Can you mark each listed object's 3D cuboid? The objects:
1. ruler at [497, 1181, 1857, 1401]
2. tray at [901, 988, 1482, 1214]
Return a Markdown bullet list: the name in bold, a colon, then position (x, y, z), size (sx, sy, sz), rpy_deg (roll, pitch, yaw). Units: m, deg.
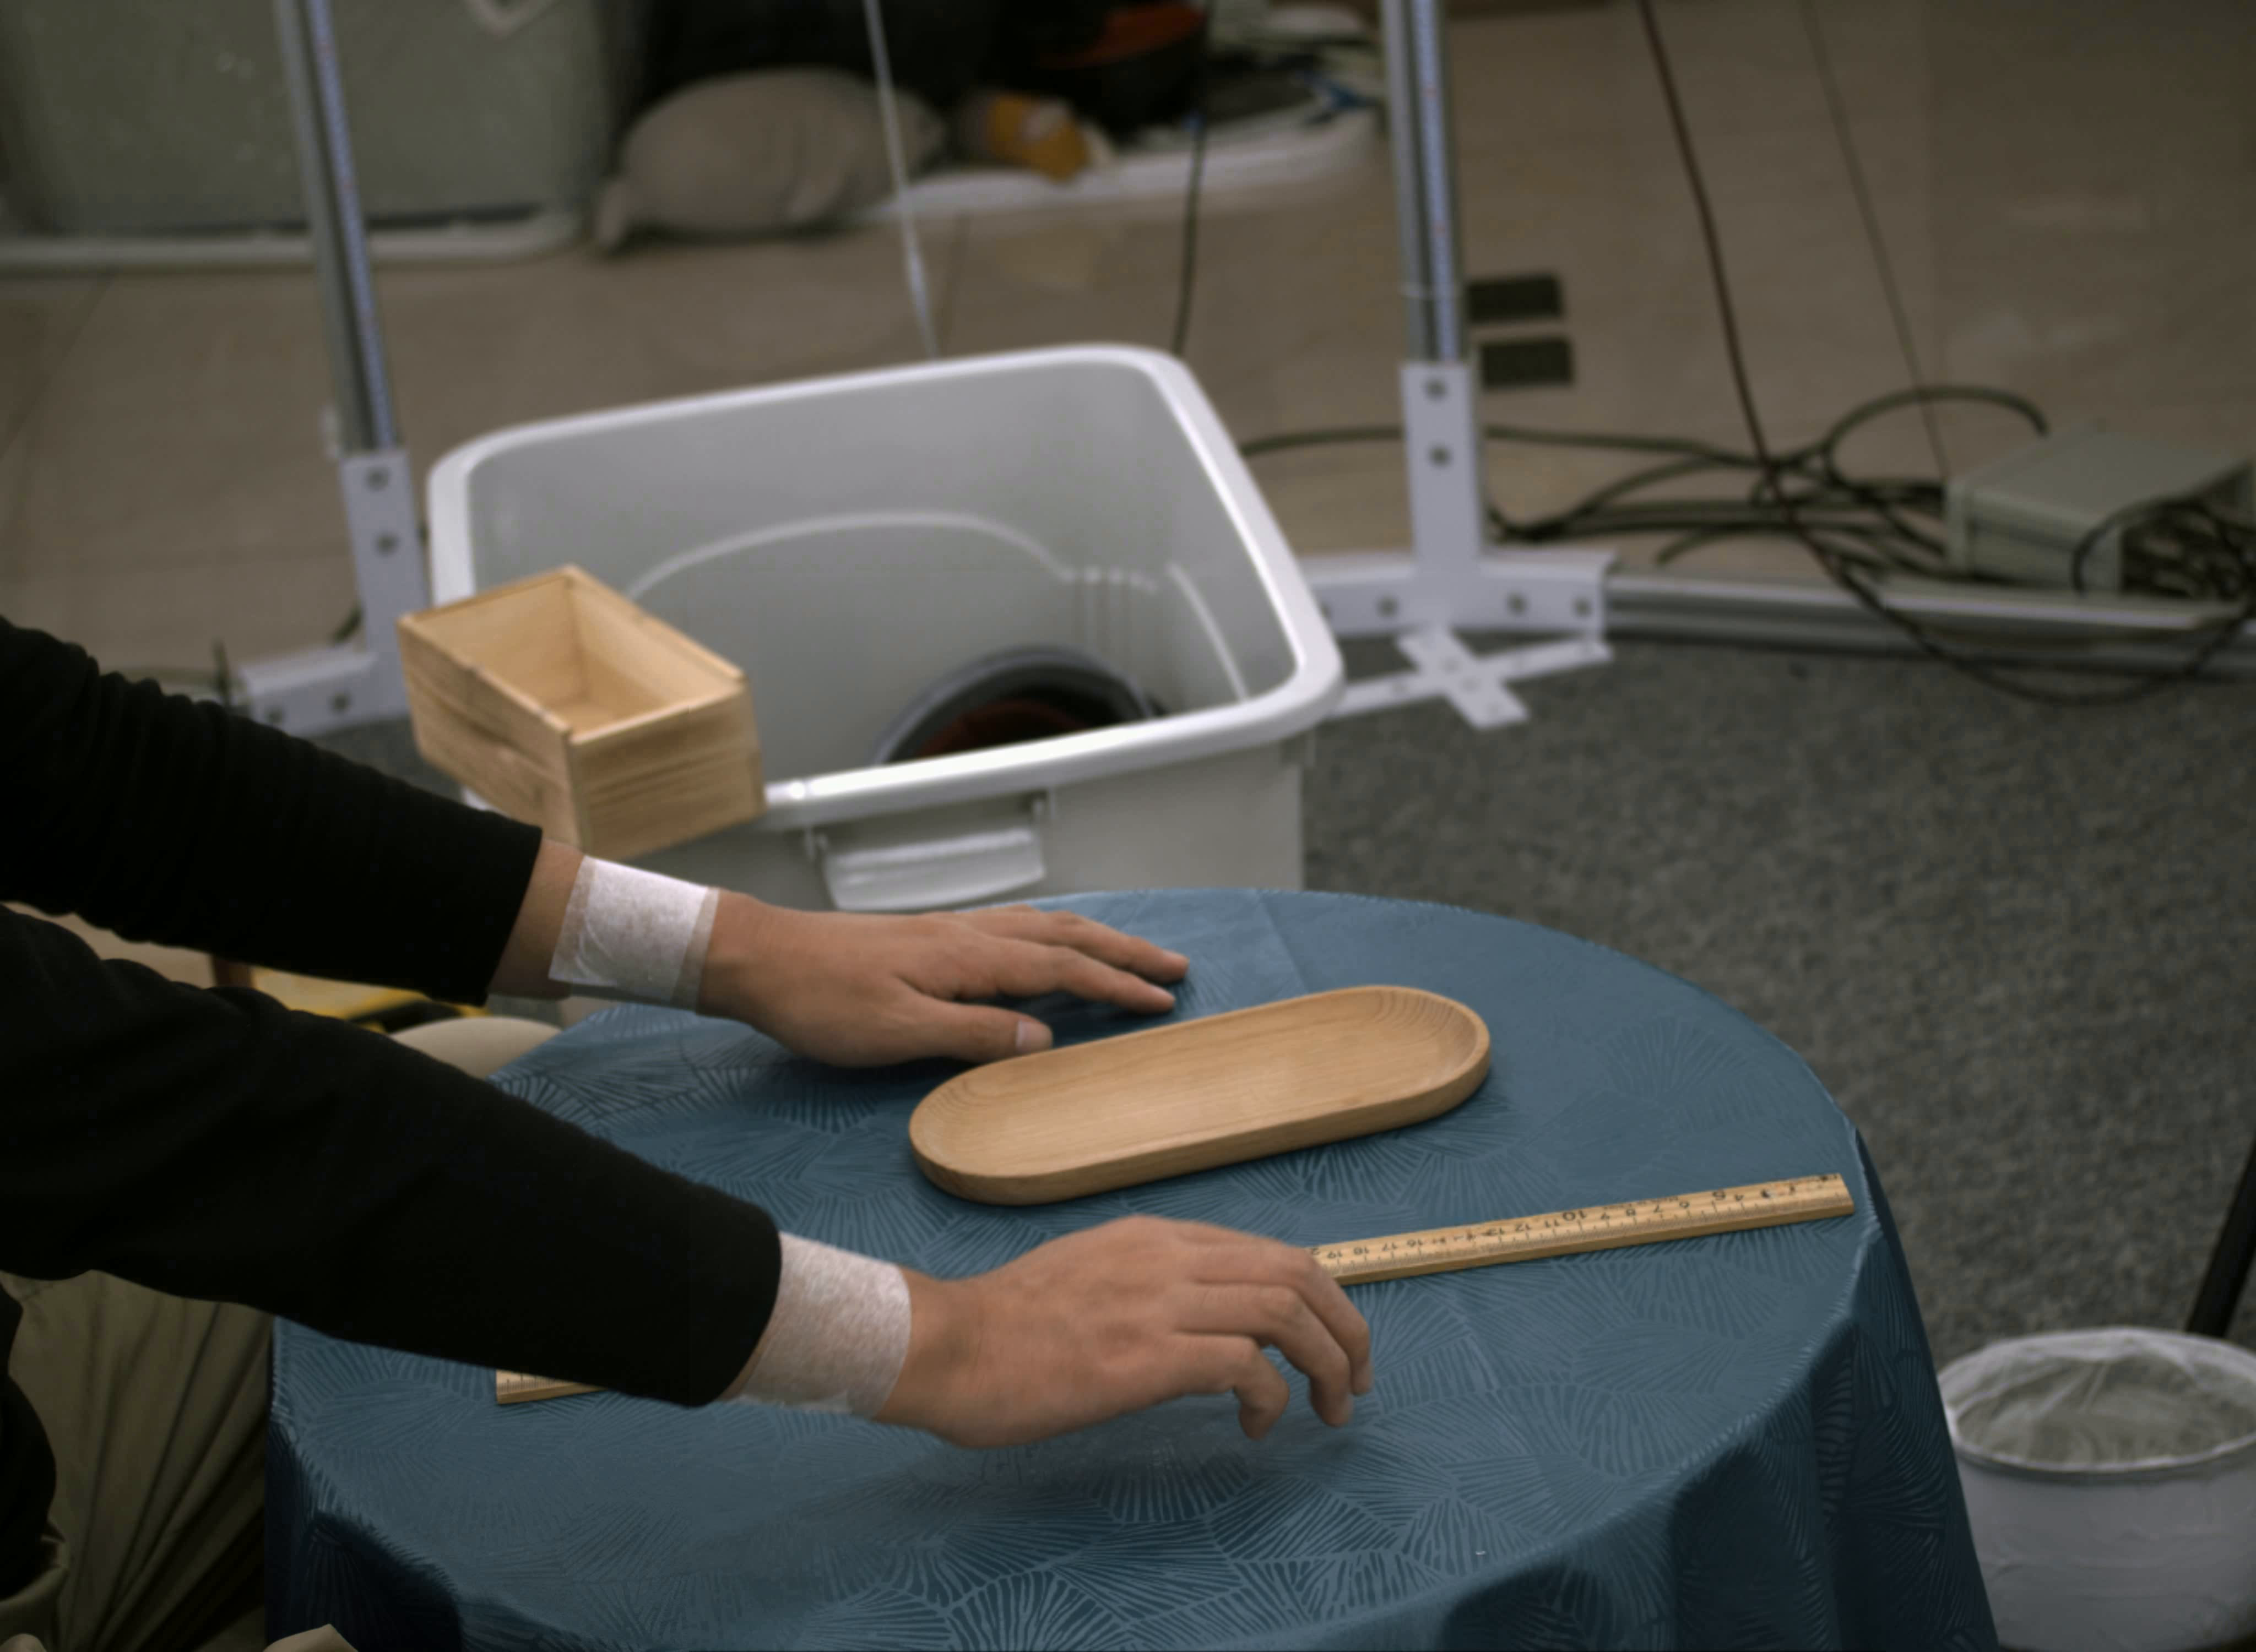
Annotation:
- **ruler**: position (0.018, 0.169, 2.074), size (0.499, 0.006, 0.026), rpy_deg (-8, 23, -2)
- **tray**: position (0.026, 0.106, 2.193), size (0.230, 0.020, 0.100), rpy_deg (-14, 24, -12)
